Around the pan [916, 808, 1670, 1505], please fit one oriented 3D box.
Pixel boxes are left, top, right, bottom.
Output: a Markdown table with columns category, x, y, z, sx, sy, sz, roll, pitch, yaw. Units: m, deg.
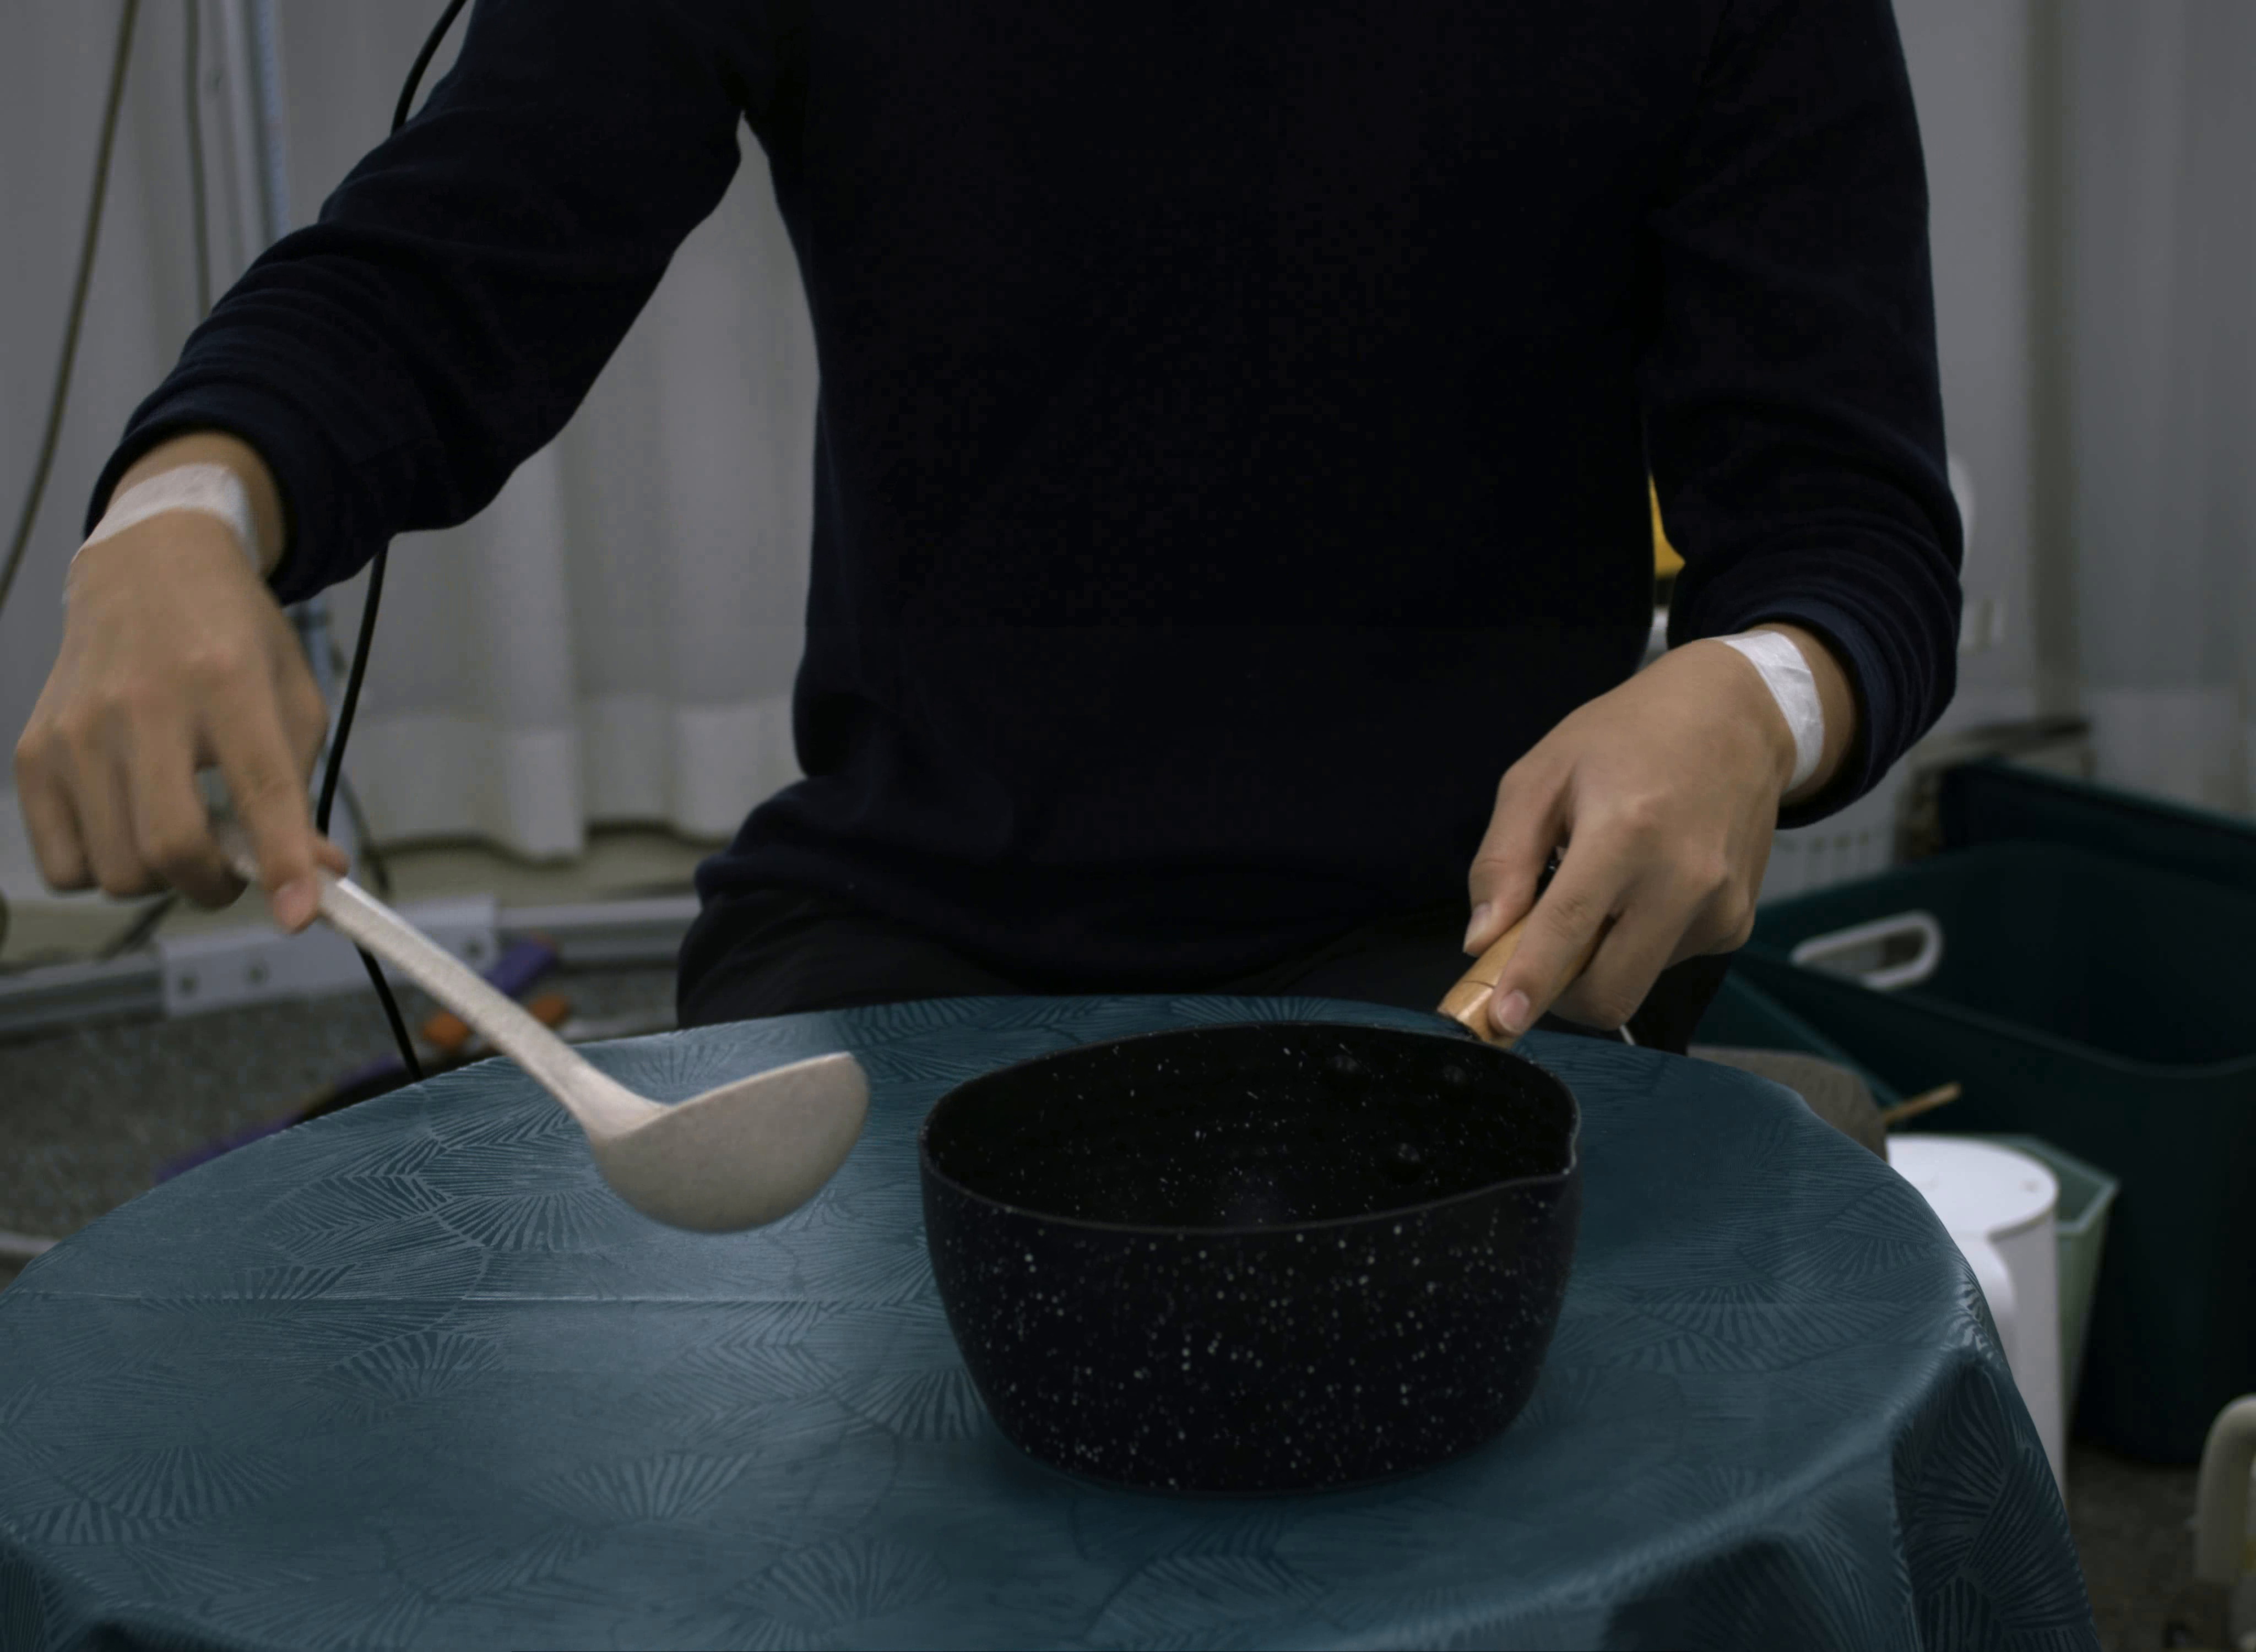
| category | x | y | z | sx | sy | sz | roll | pitch | yaw |
| --- | --- | --- | --- | --- | --- | --- | --- | --- | --- |
| pan | 0.074 | 0.090 | 1.585 | 0.208 | 0.108 | 0.343 | 4 | 18 | 30 |

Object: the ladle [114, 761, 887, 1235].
| category | x | y | z | sx | sy | sz | roll | pitch | yaw |
| --- | --- | --- | --- | --- | --- | --- | --- | --- | --- |
| ladle | -0.181 | 0.024 | 1.513 | 0.277 | 0.069 | 0.089 | 35 | 25 | 30 |
